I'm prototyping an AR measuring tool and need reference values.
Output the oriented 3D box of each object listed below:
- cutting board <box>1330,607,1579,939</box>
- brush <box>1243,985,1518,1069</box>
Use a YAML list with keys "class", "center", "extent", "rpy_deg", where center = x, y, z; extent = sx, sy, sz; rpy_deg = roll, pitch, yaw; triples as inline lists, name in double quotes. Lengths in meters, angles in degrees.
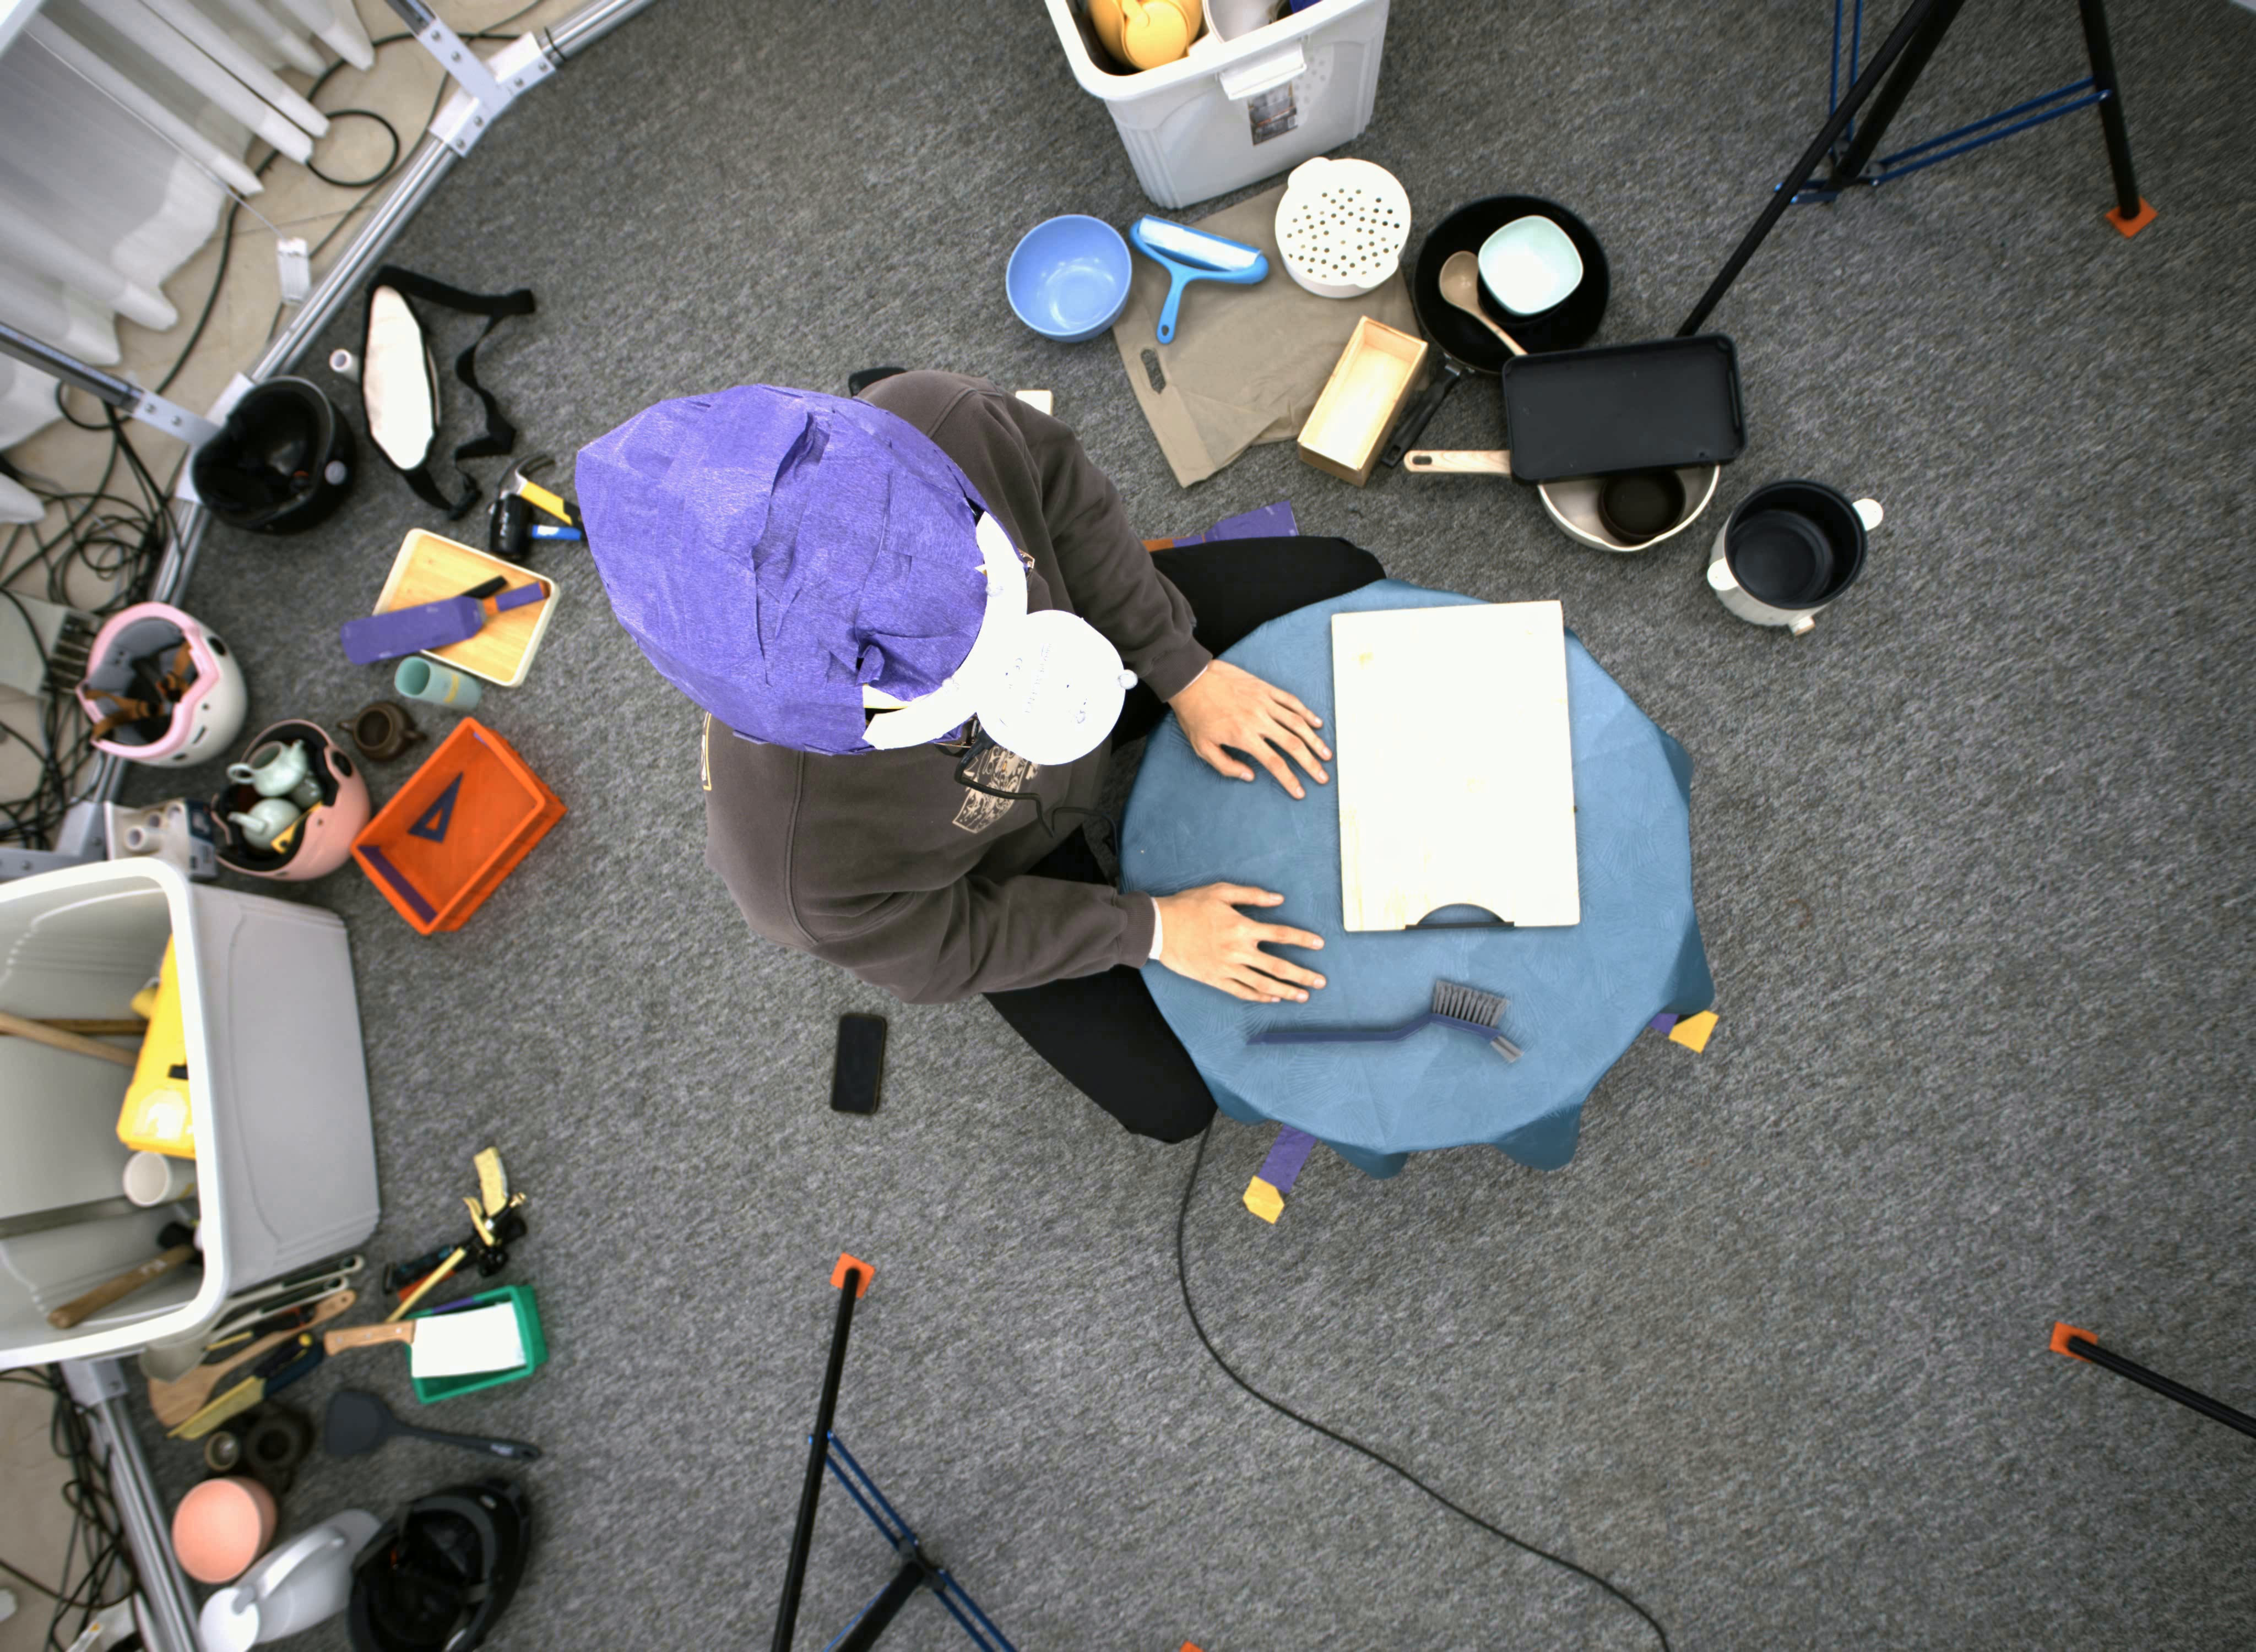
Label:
- class: "cutting board"
  center: [0.340, -0.059, 1.443]
  extent: [0.252, 0.023, 0.347]
  rpy_deg: [-3, 87, 11]
- class: "brush"
  center: [0.260, 0.222, 1.437]
  extent: [0.274, 0.033, 0.095]
  rpy_deg: [-10, 85, 9]
